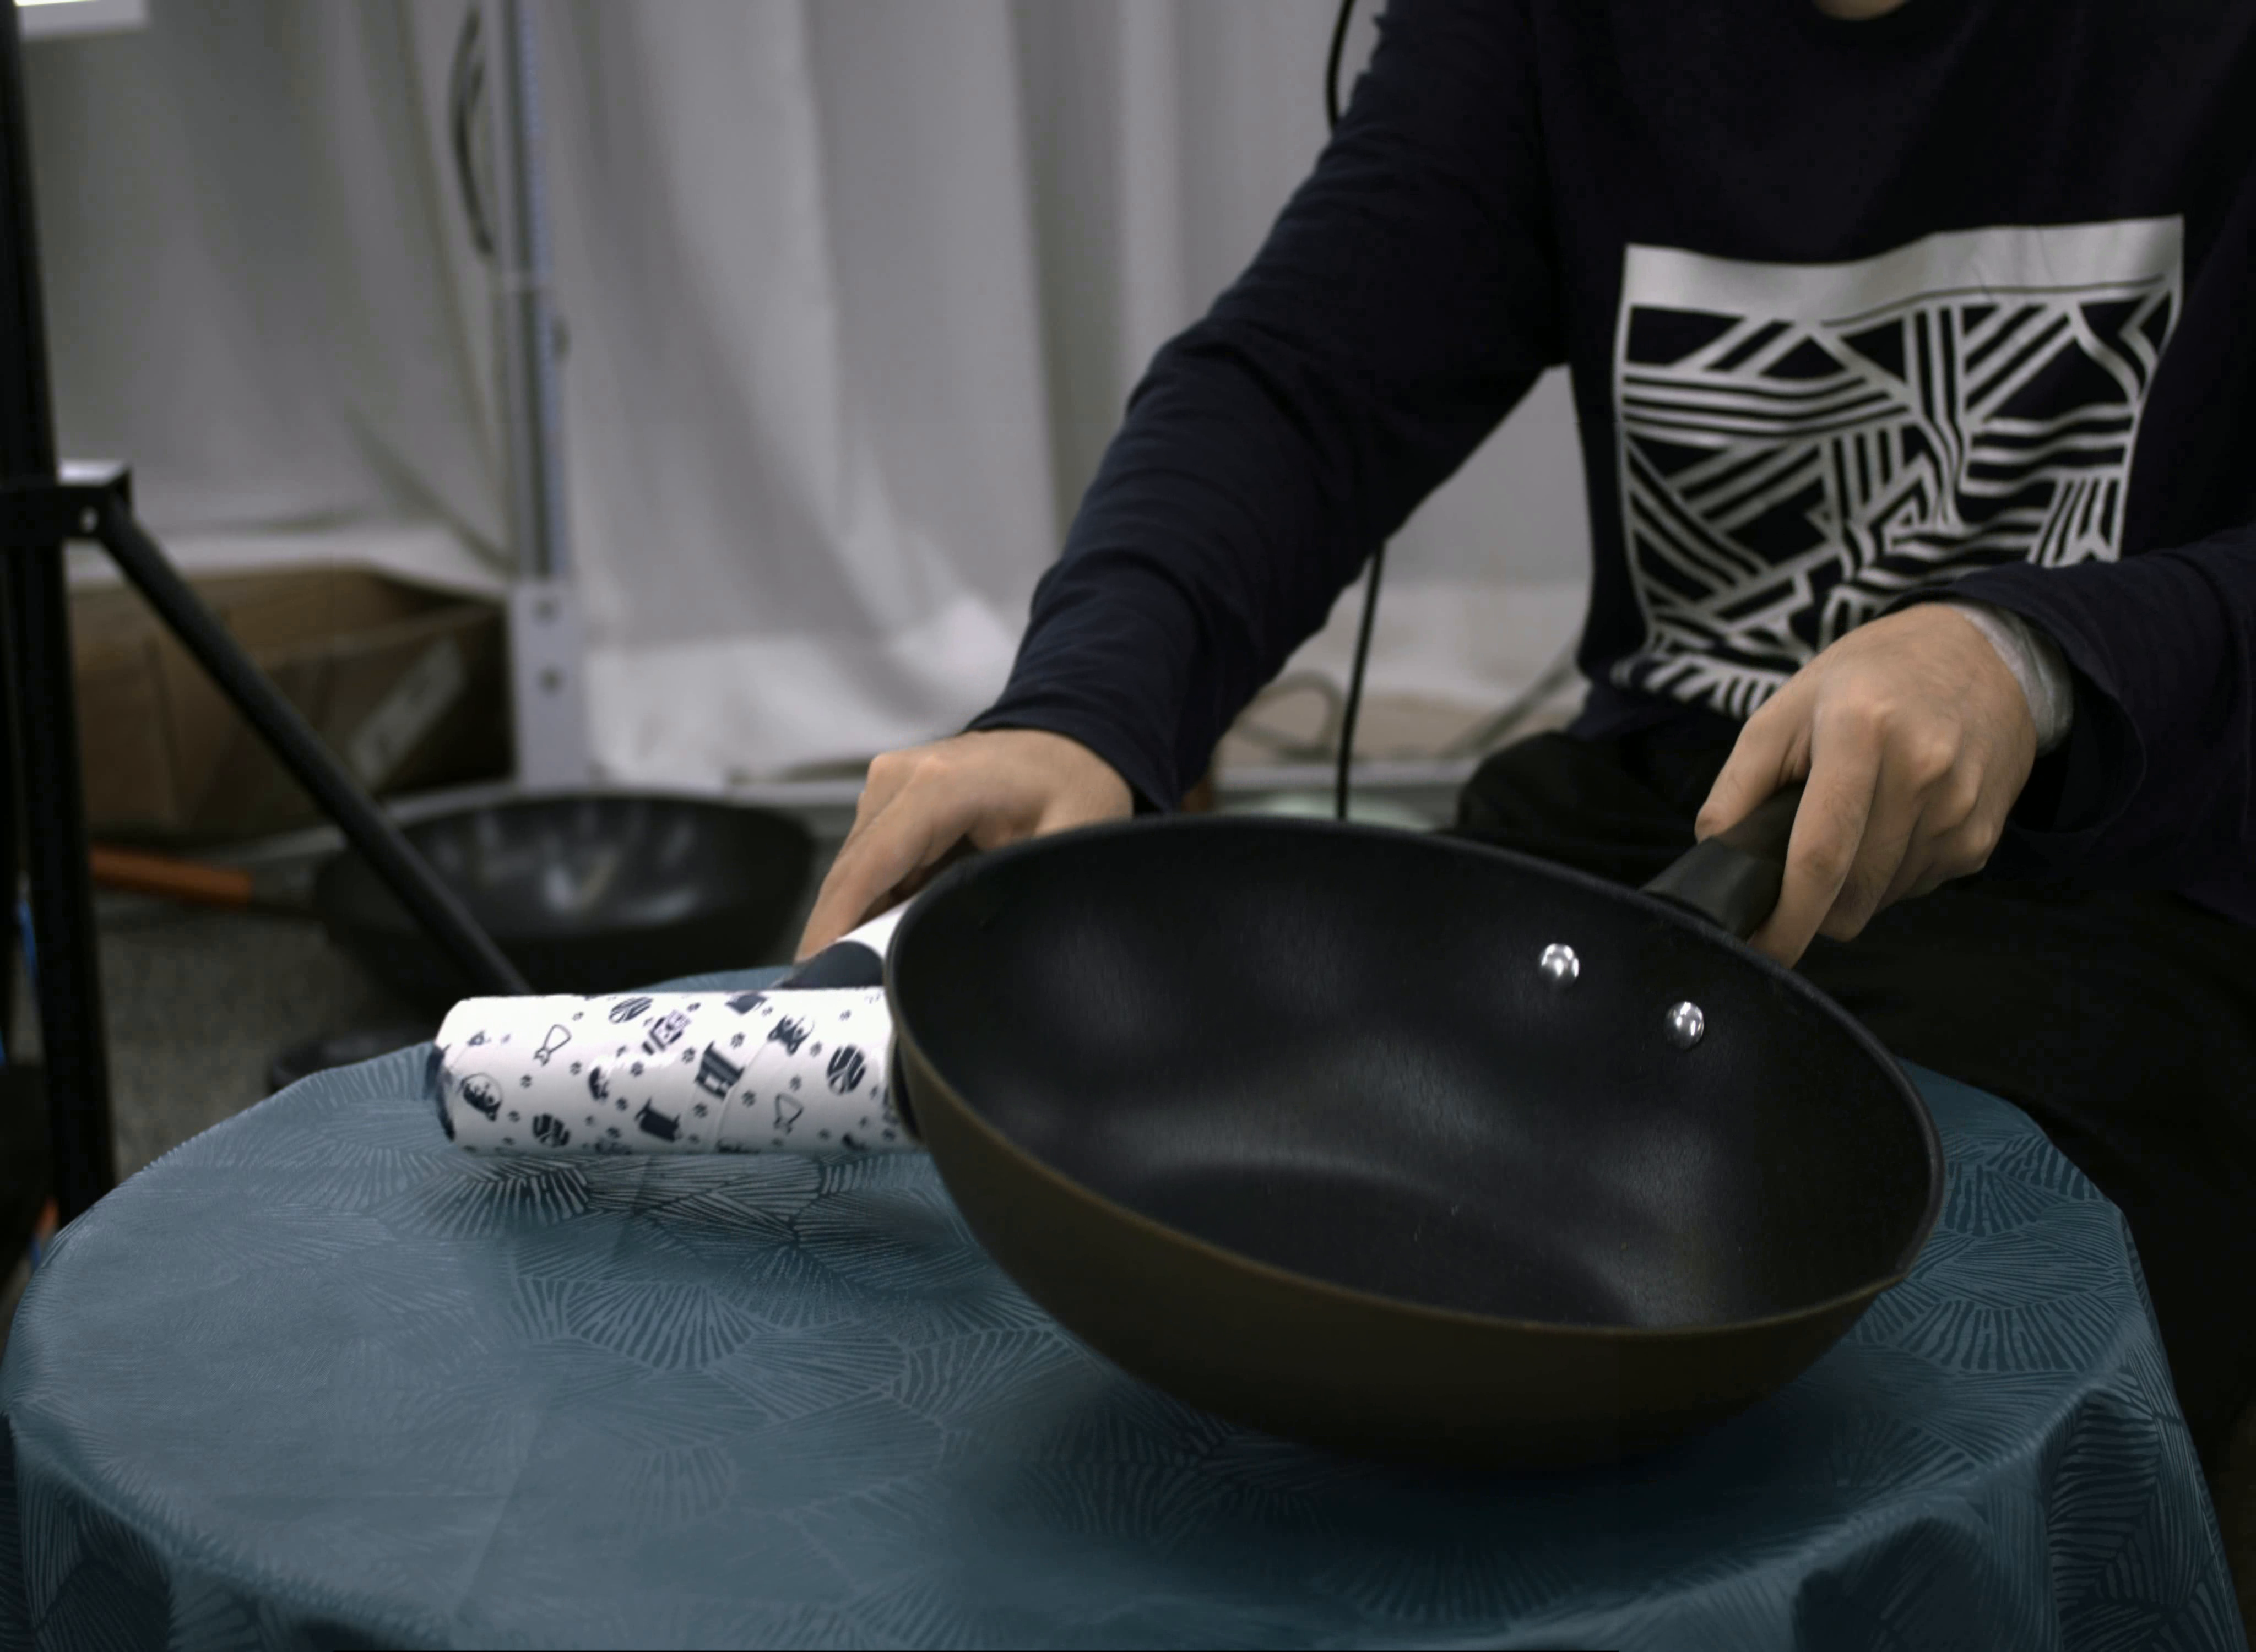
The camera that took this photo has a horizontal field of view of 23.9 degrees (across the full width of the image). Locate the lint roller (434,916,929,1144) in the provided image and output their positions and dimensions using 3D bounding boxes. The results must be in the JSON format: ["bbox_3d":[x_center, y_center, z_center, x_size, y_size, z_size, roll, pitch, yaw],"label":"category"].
[{"bbox_3d":[-0.080,0.042,1.642,0.179,0.050,0.243,-5,13,29],"label":"lint roller"}]

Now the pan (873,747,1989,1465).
[{"bbox_3d":[0.115,0.065,1.457,0.293,0.087,0.454,24,27,27],"label":"pan"}]
